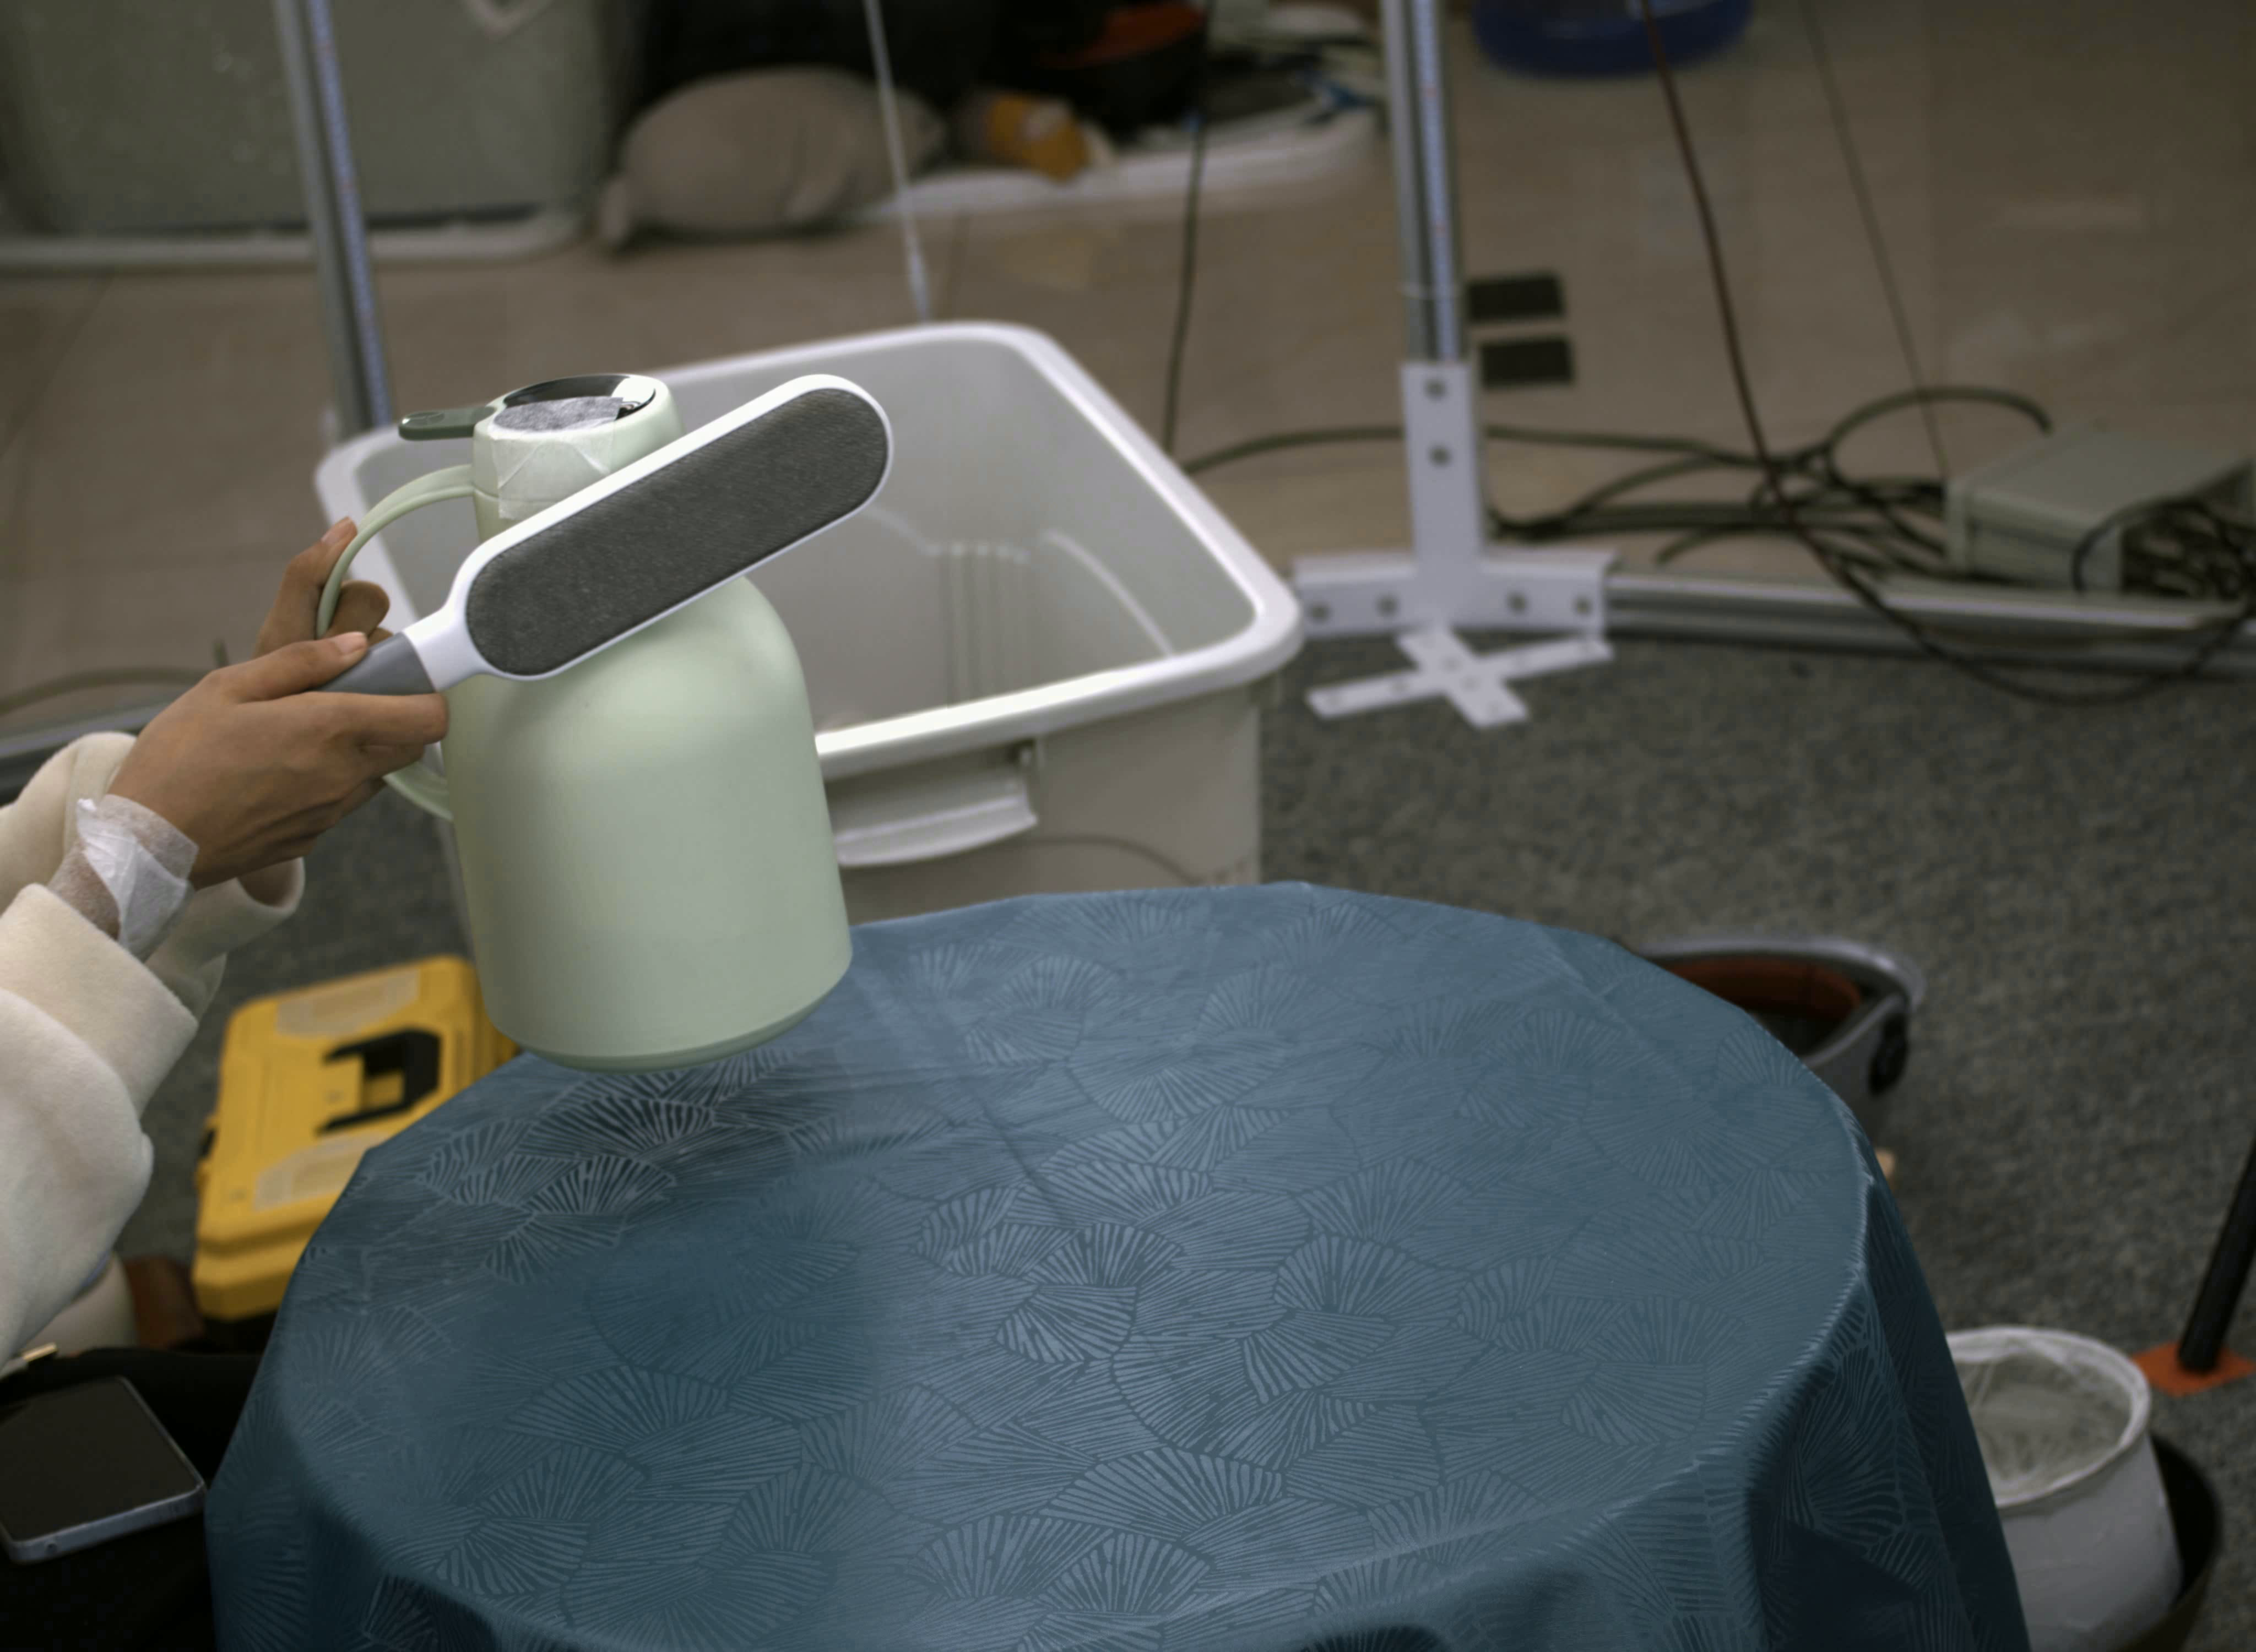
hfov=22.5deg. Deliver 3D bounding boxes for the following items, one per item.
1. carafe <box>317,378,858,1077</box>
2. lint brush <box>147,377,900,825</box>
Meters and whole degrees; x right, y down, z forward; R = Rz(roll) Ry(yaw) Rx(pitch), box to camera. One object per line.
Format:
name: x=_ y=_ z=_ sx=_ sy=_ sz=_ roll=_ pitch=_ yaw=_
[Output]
carafe: x=-0.207 y=-0.041 z=2.165 sx=0.186 sy=0.261 sz=0.142 roll=-9 pitch=25 yaw=7
lint brush: x=-0.220 y=-0.081 z=2.072 sx=0.307 sy=0.061 sz=0.020 roll=-29 pitch=27 yaw=-11
